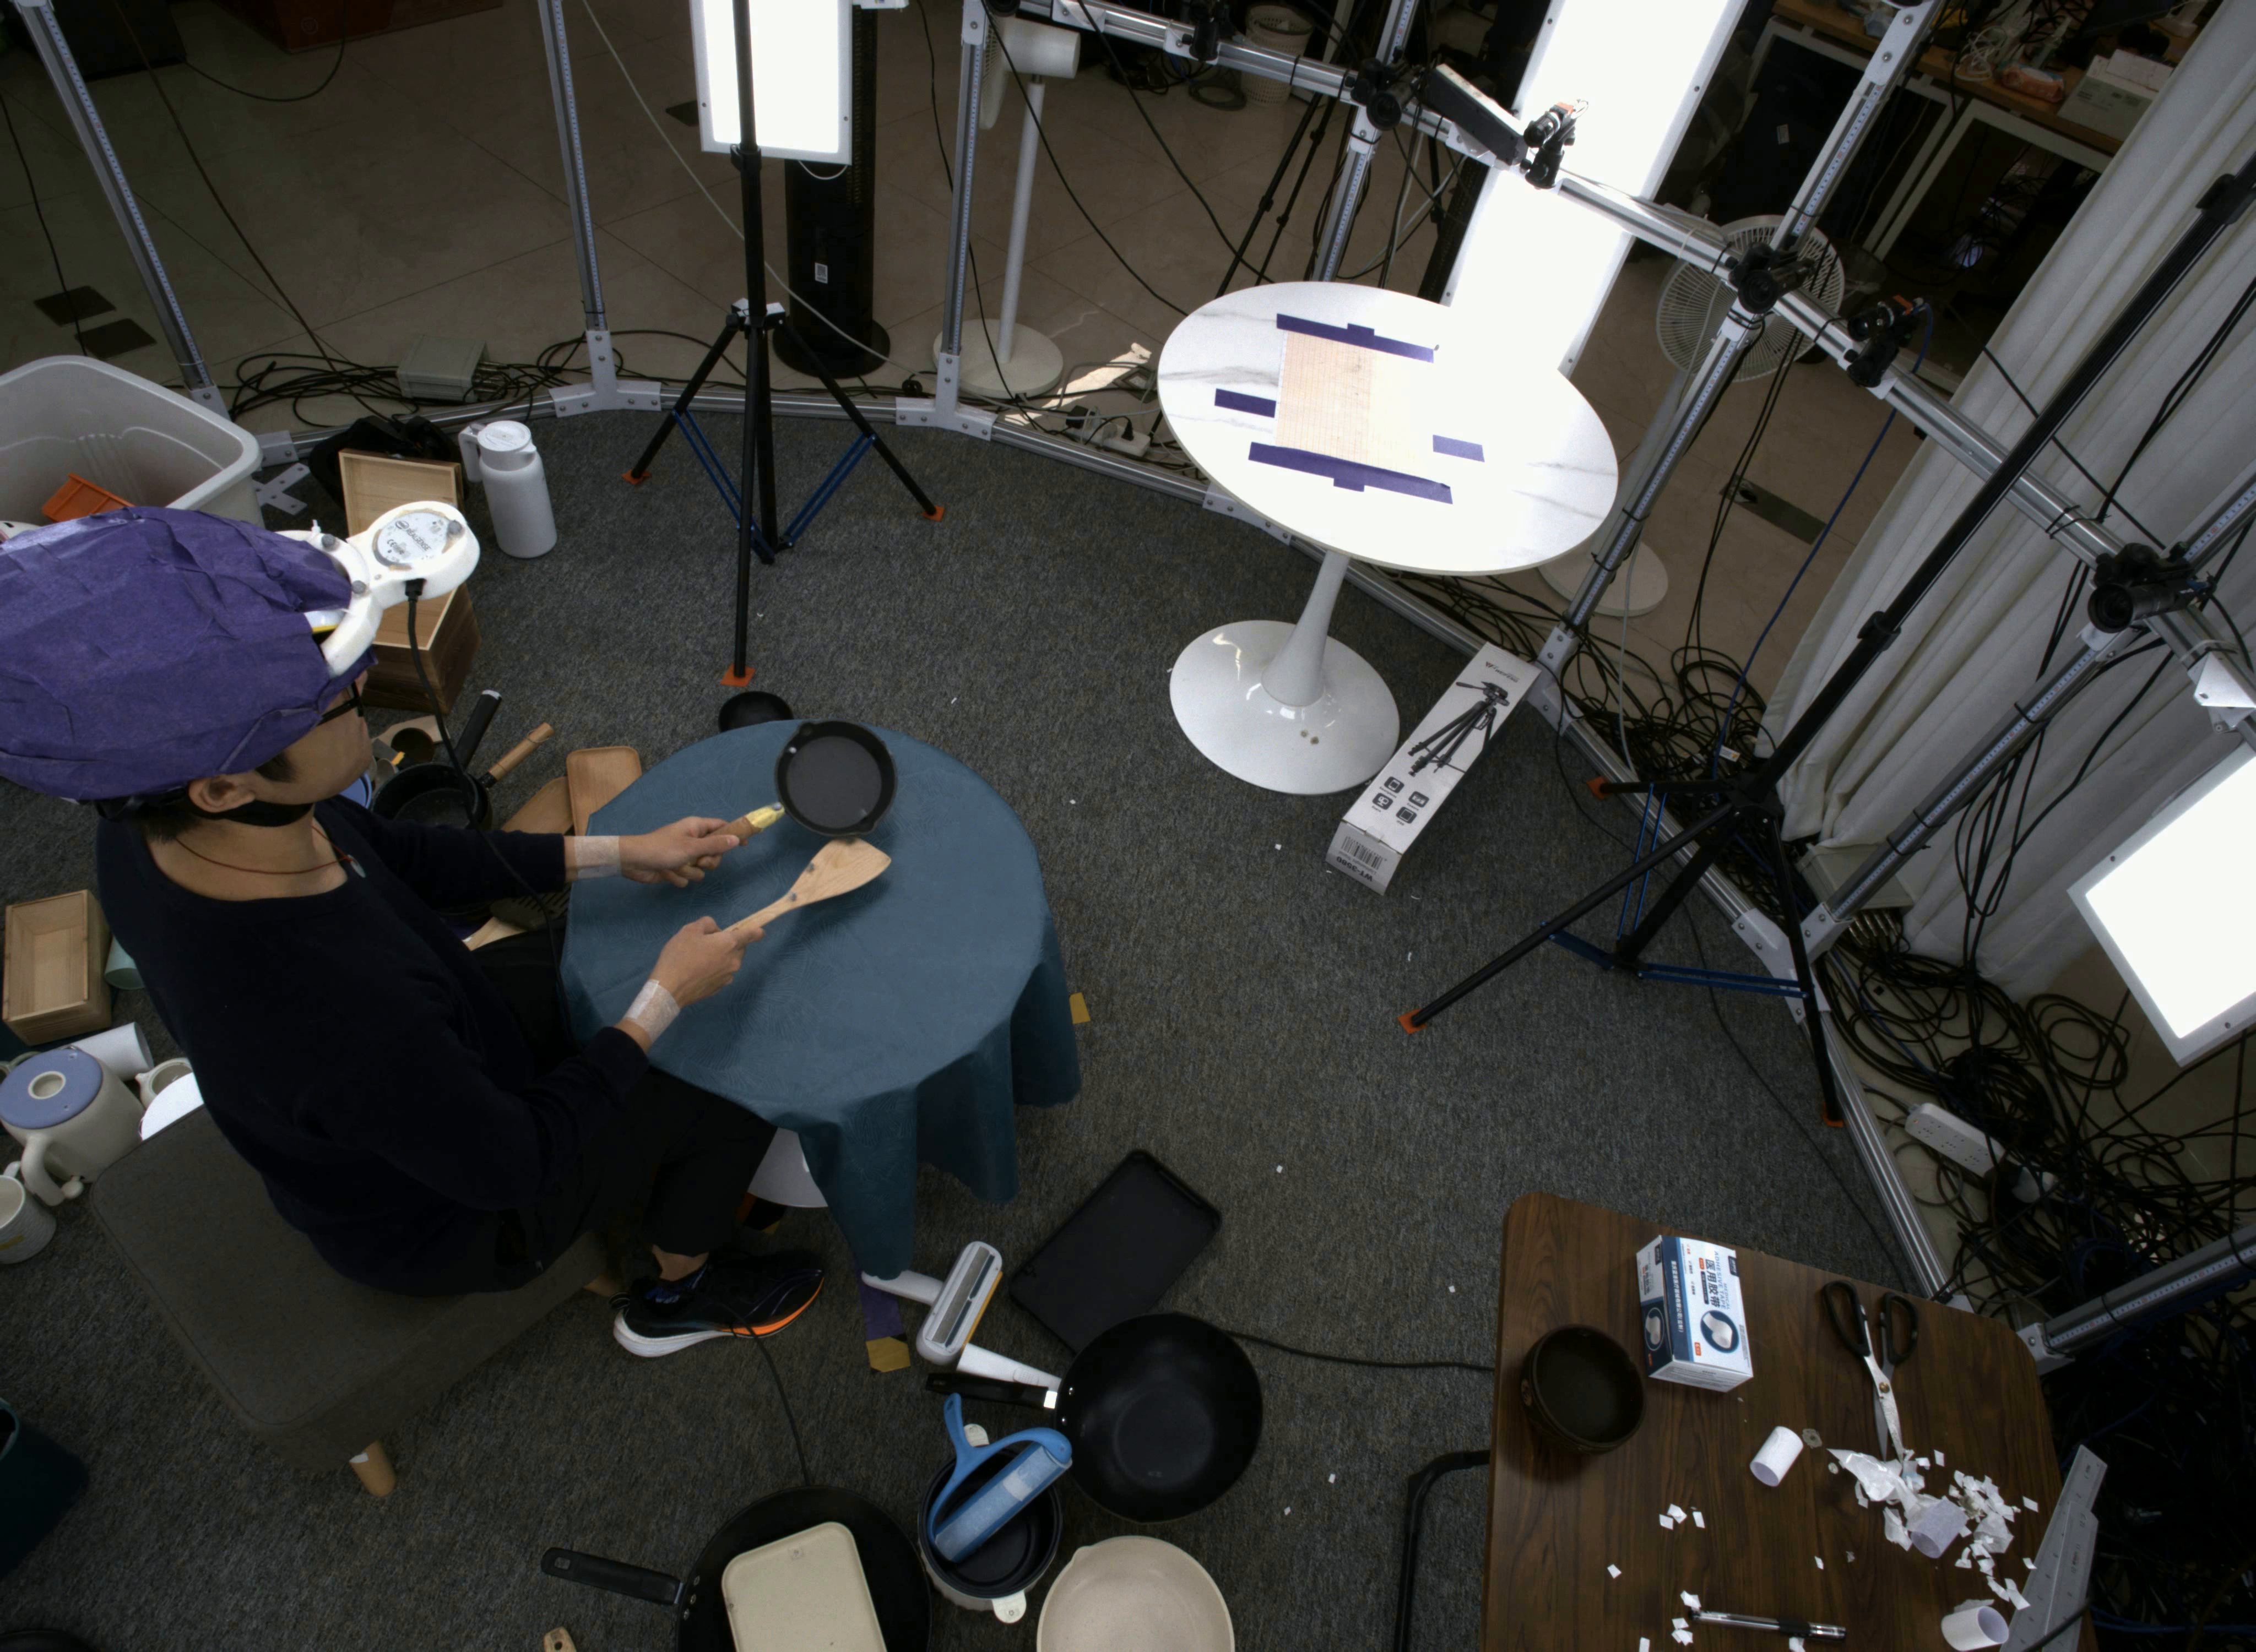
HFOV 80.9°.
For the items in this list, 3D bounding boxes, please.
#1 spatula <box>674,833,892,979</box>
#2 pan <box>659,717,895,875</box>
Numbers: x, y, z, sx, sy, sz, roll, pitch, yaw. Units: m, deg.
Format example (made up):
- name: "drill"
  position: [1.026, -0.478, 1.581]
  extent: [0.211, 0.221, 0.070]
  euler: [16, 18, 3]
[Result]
- name: "spatula"
  position: [-0.418, 0.093, 1.563]
  extent: [0.078, 0.017, 0.328]
  euler: [39, 41, 11]
- name: "pan"
  position: [-0.446, -0.024, 1.638]
  extent: [0.325, 0.049, 0.170]
  euler: [-30, 92, -25]
